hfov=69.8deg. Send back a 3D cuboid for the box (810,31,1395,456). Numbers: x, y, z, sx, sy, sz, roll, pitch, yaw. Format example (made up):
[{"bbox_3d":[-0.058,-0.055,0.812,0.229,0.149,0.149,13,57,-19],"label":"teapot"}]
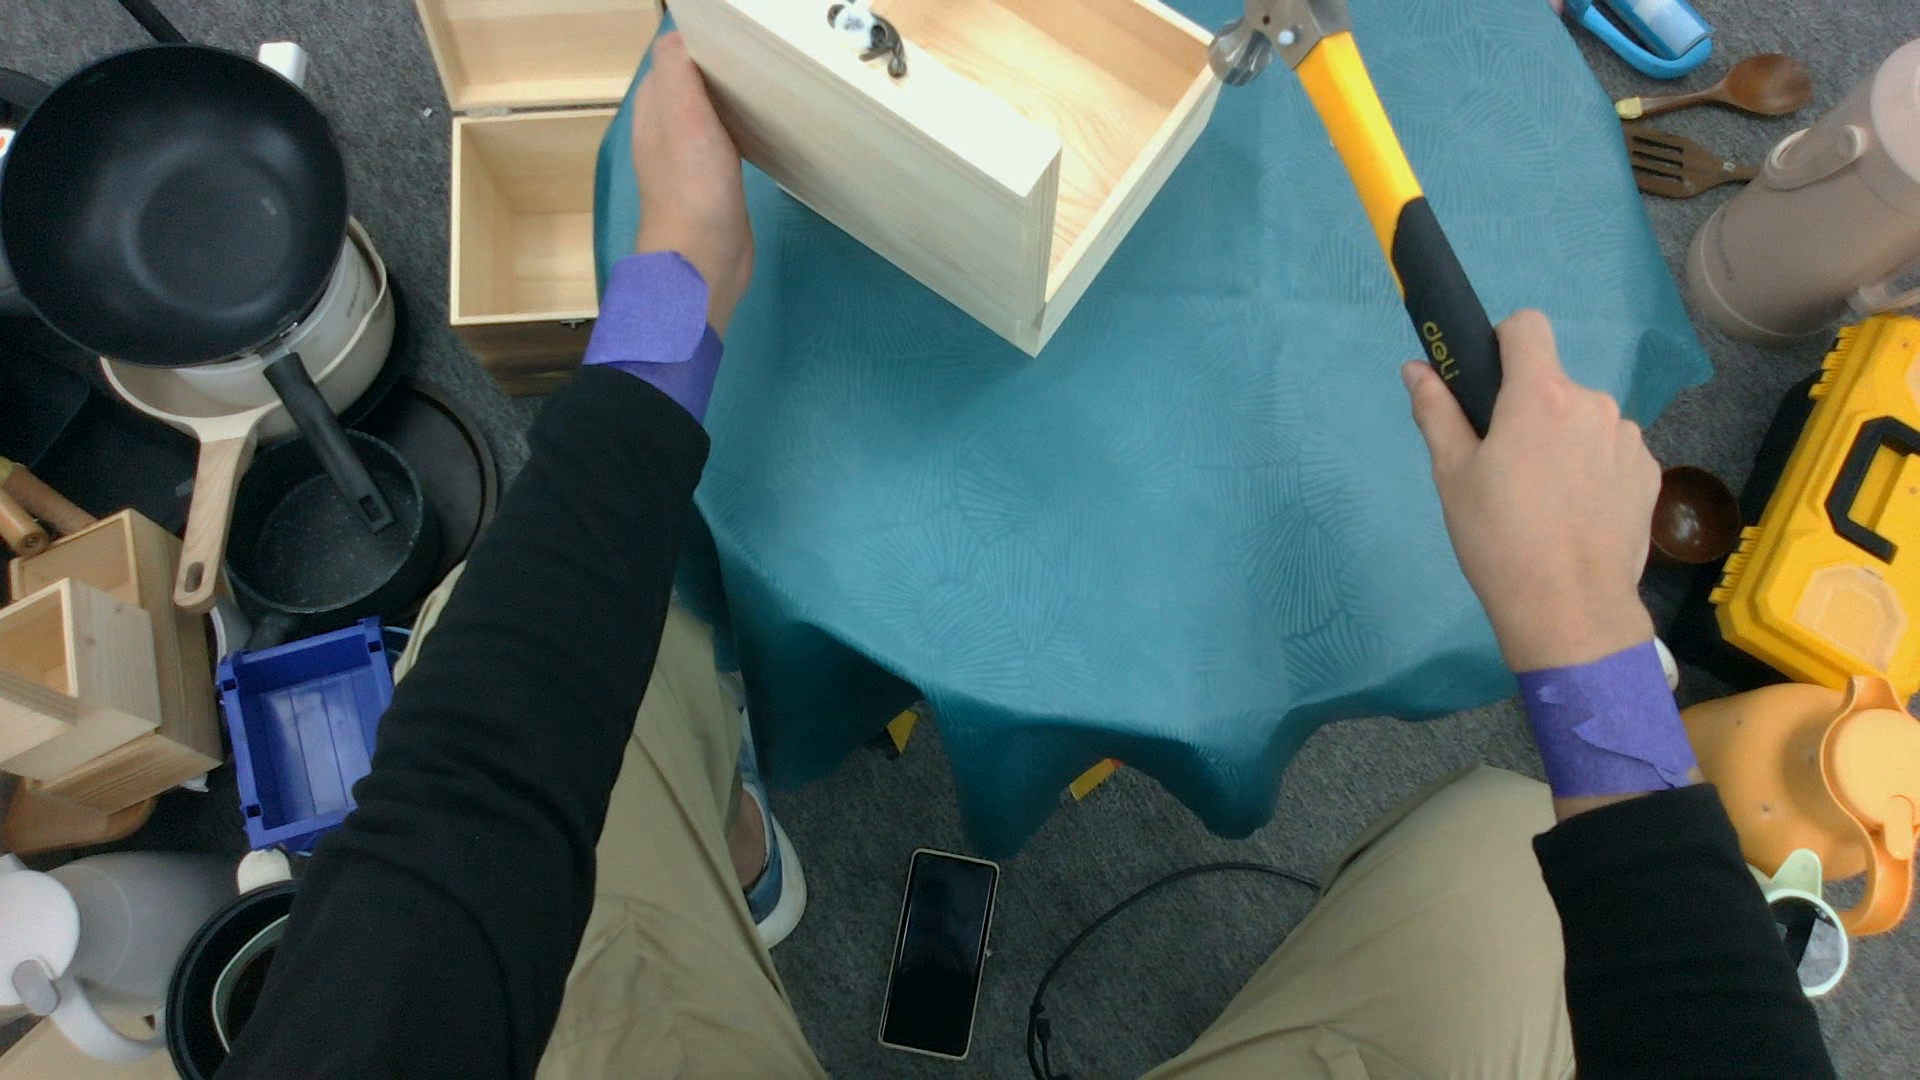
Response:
[{"bbox_3d":[0.093,-0.170,0.685,0.181,0.252,0.266,23,75,17],"label":"box"}]

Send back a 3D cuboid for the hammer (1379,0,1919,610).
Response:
[{"bbox_3d":[0.310,-0.110,0.595,0.032,0.131,0.339,-31,73,-11],"label":"hammer"}]
